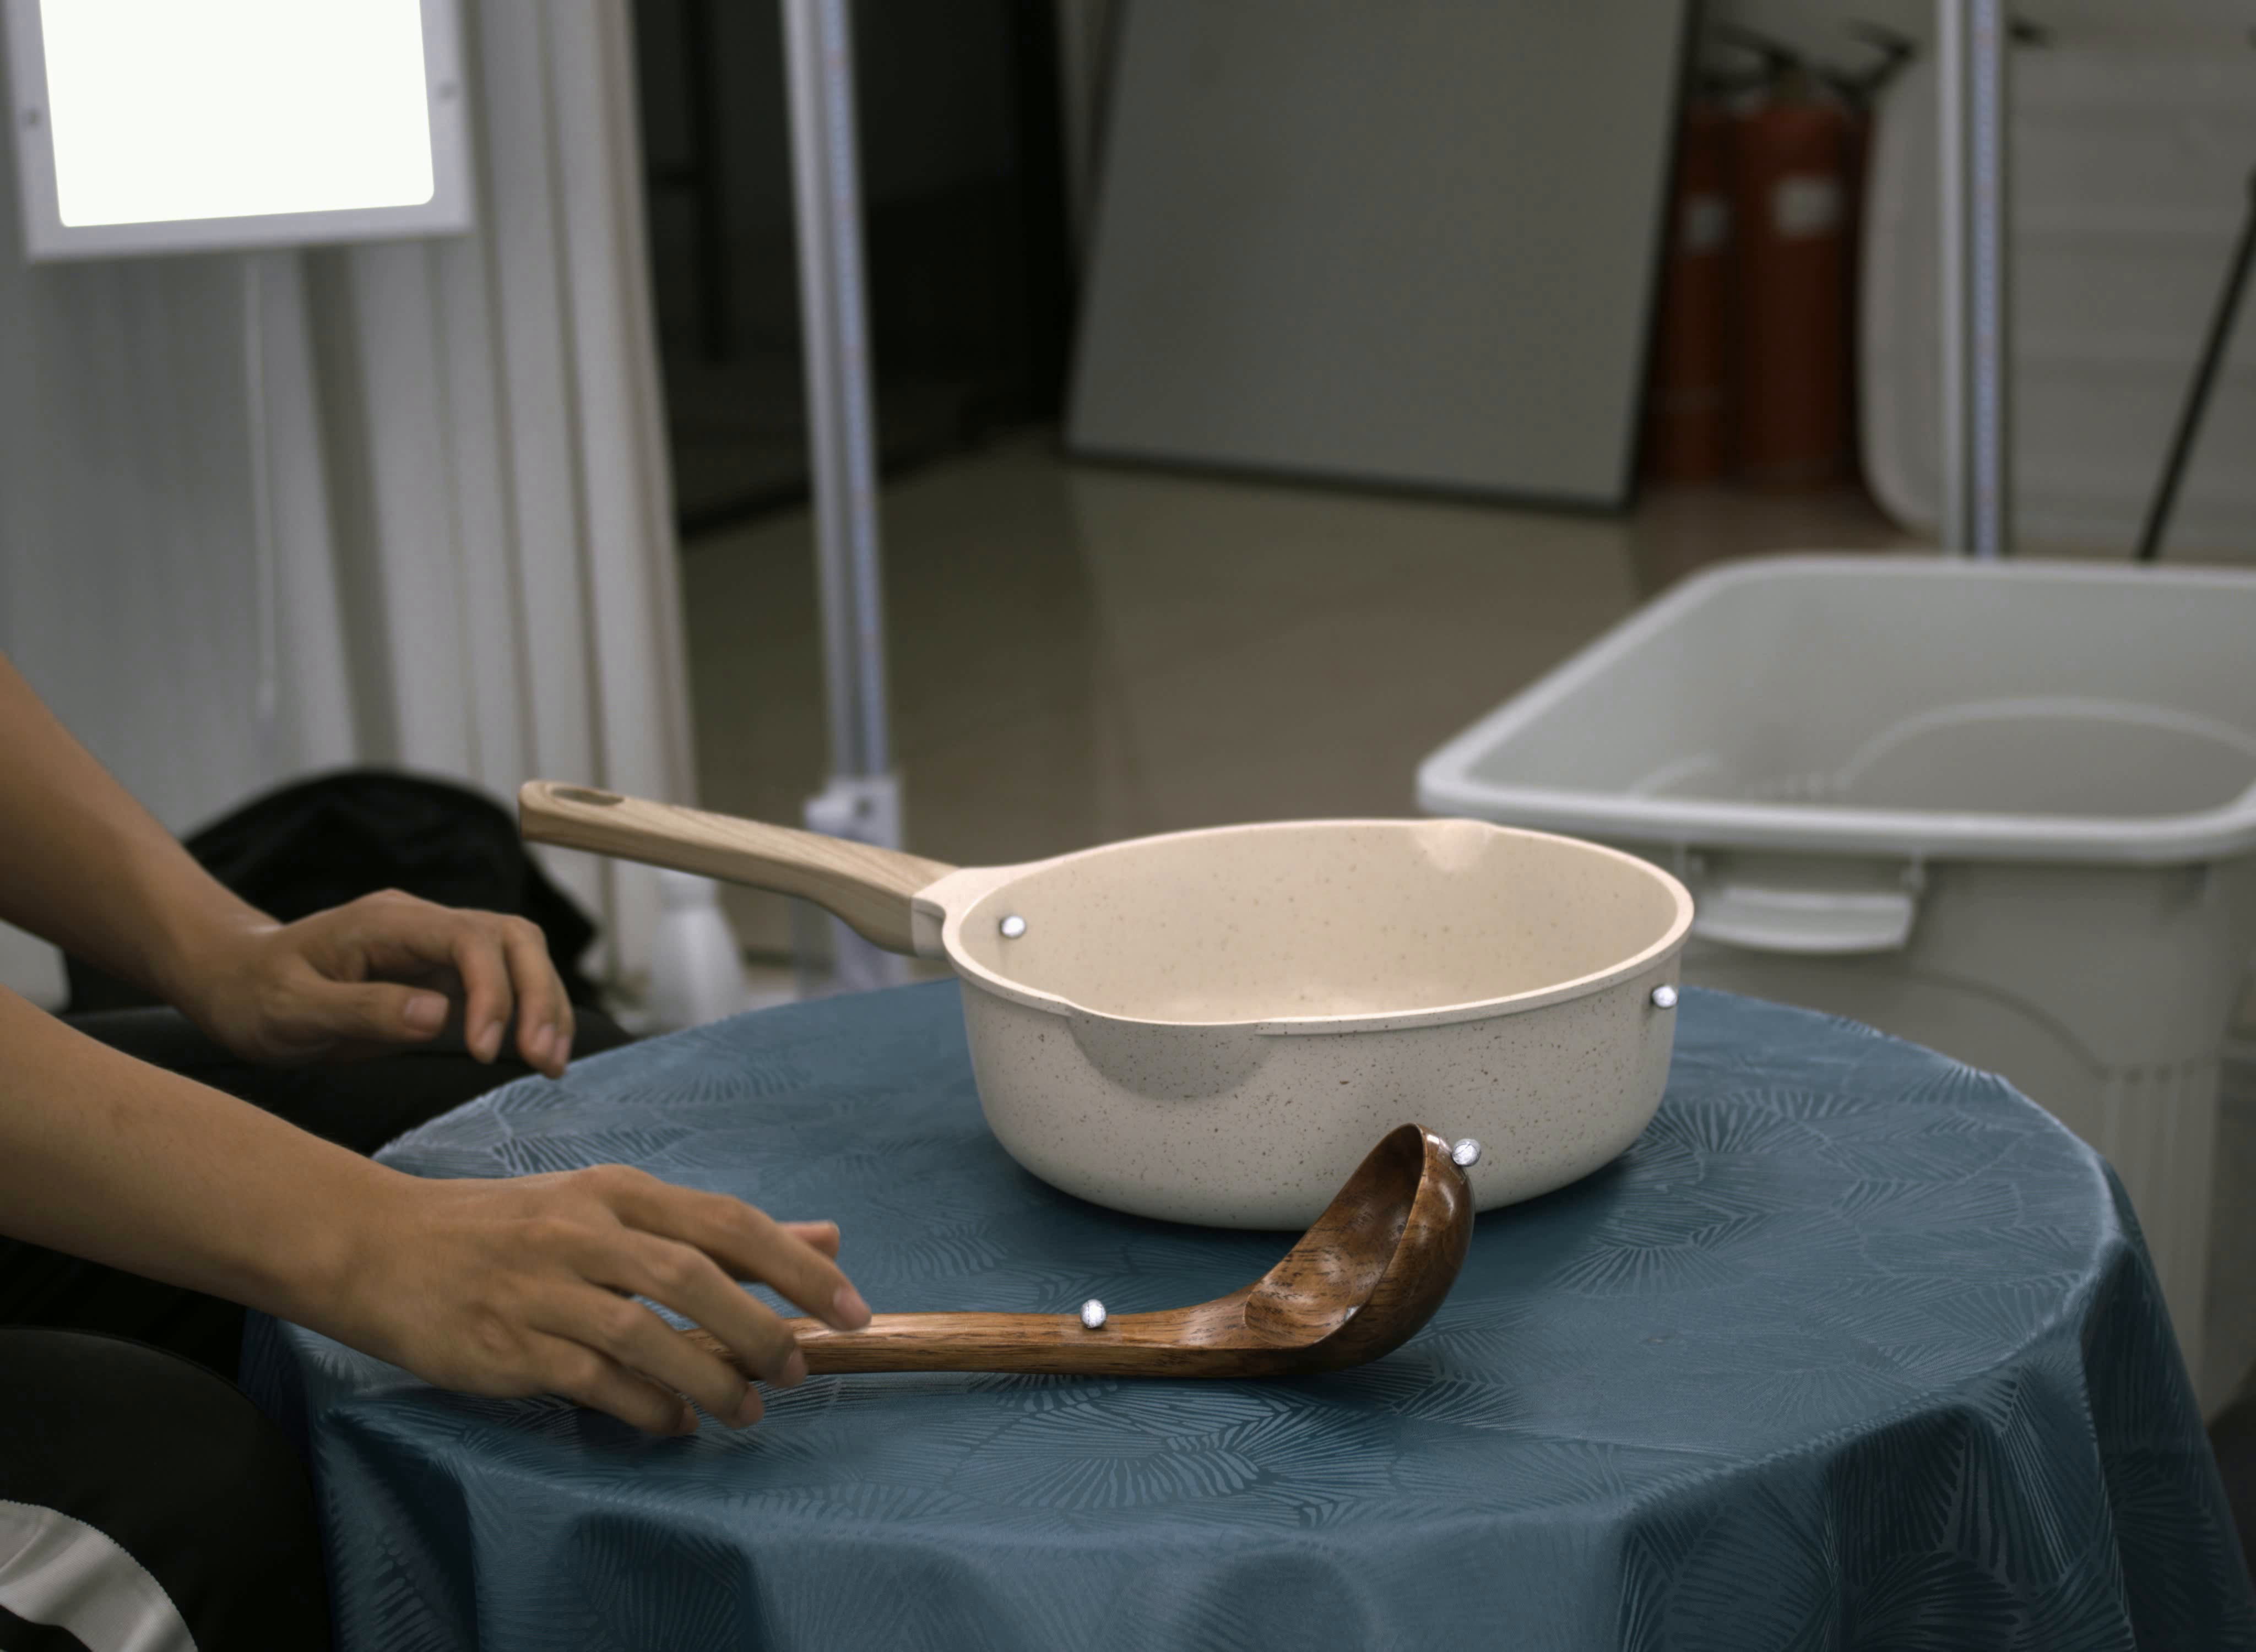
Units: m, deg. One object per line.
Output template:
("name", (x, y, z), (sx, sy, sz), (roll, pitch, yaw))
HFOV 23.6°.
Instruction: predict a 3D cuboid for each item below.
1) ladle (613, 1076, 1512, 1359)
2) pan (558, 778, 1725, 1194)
("ladle", (-0.021, 0.117, 1.600), (0.271, 0.077, 0.082), (-2, 18, 5))
("pan", (-0.004, 0.044, 1.857), (0.436, 0.103, 0.260), (3, 16, 27))
